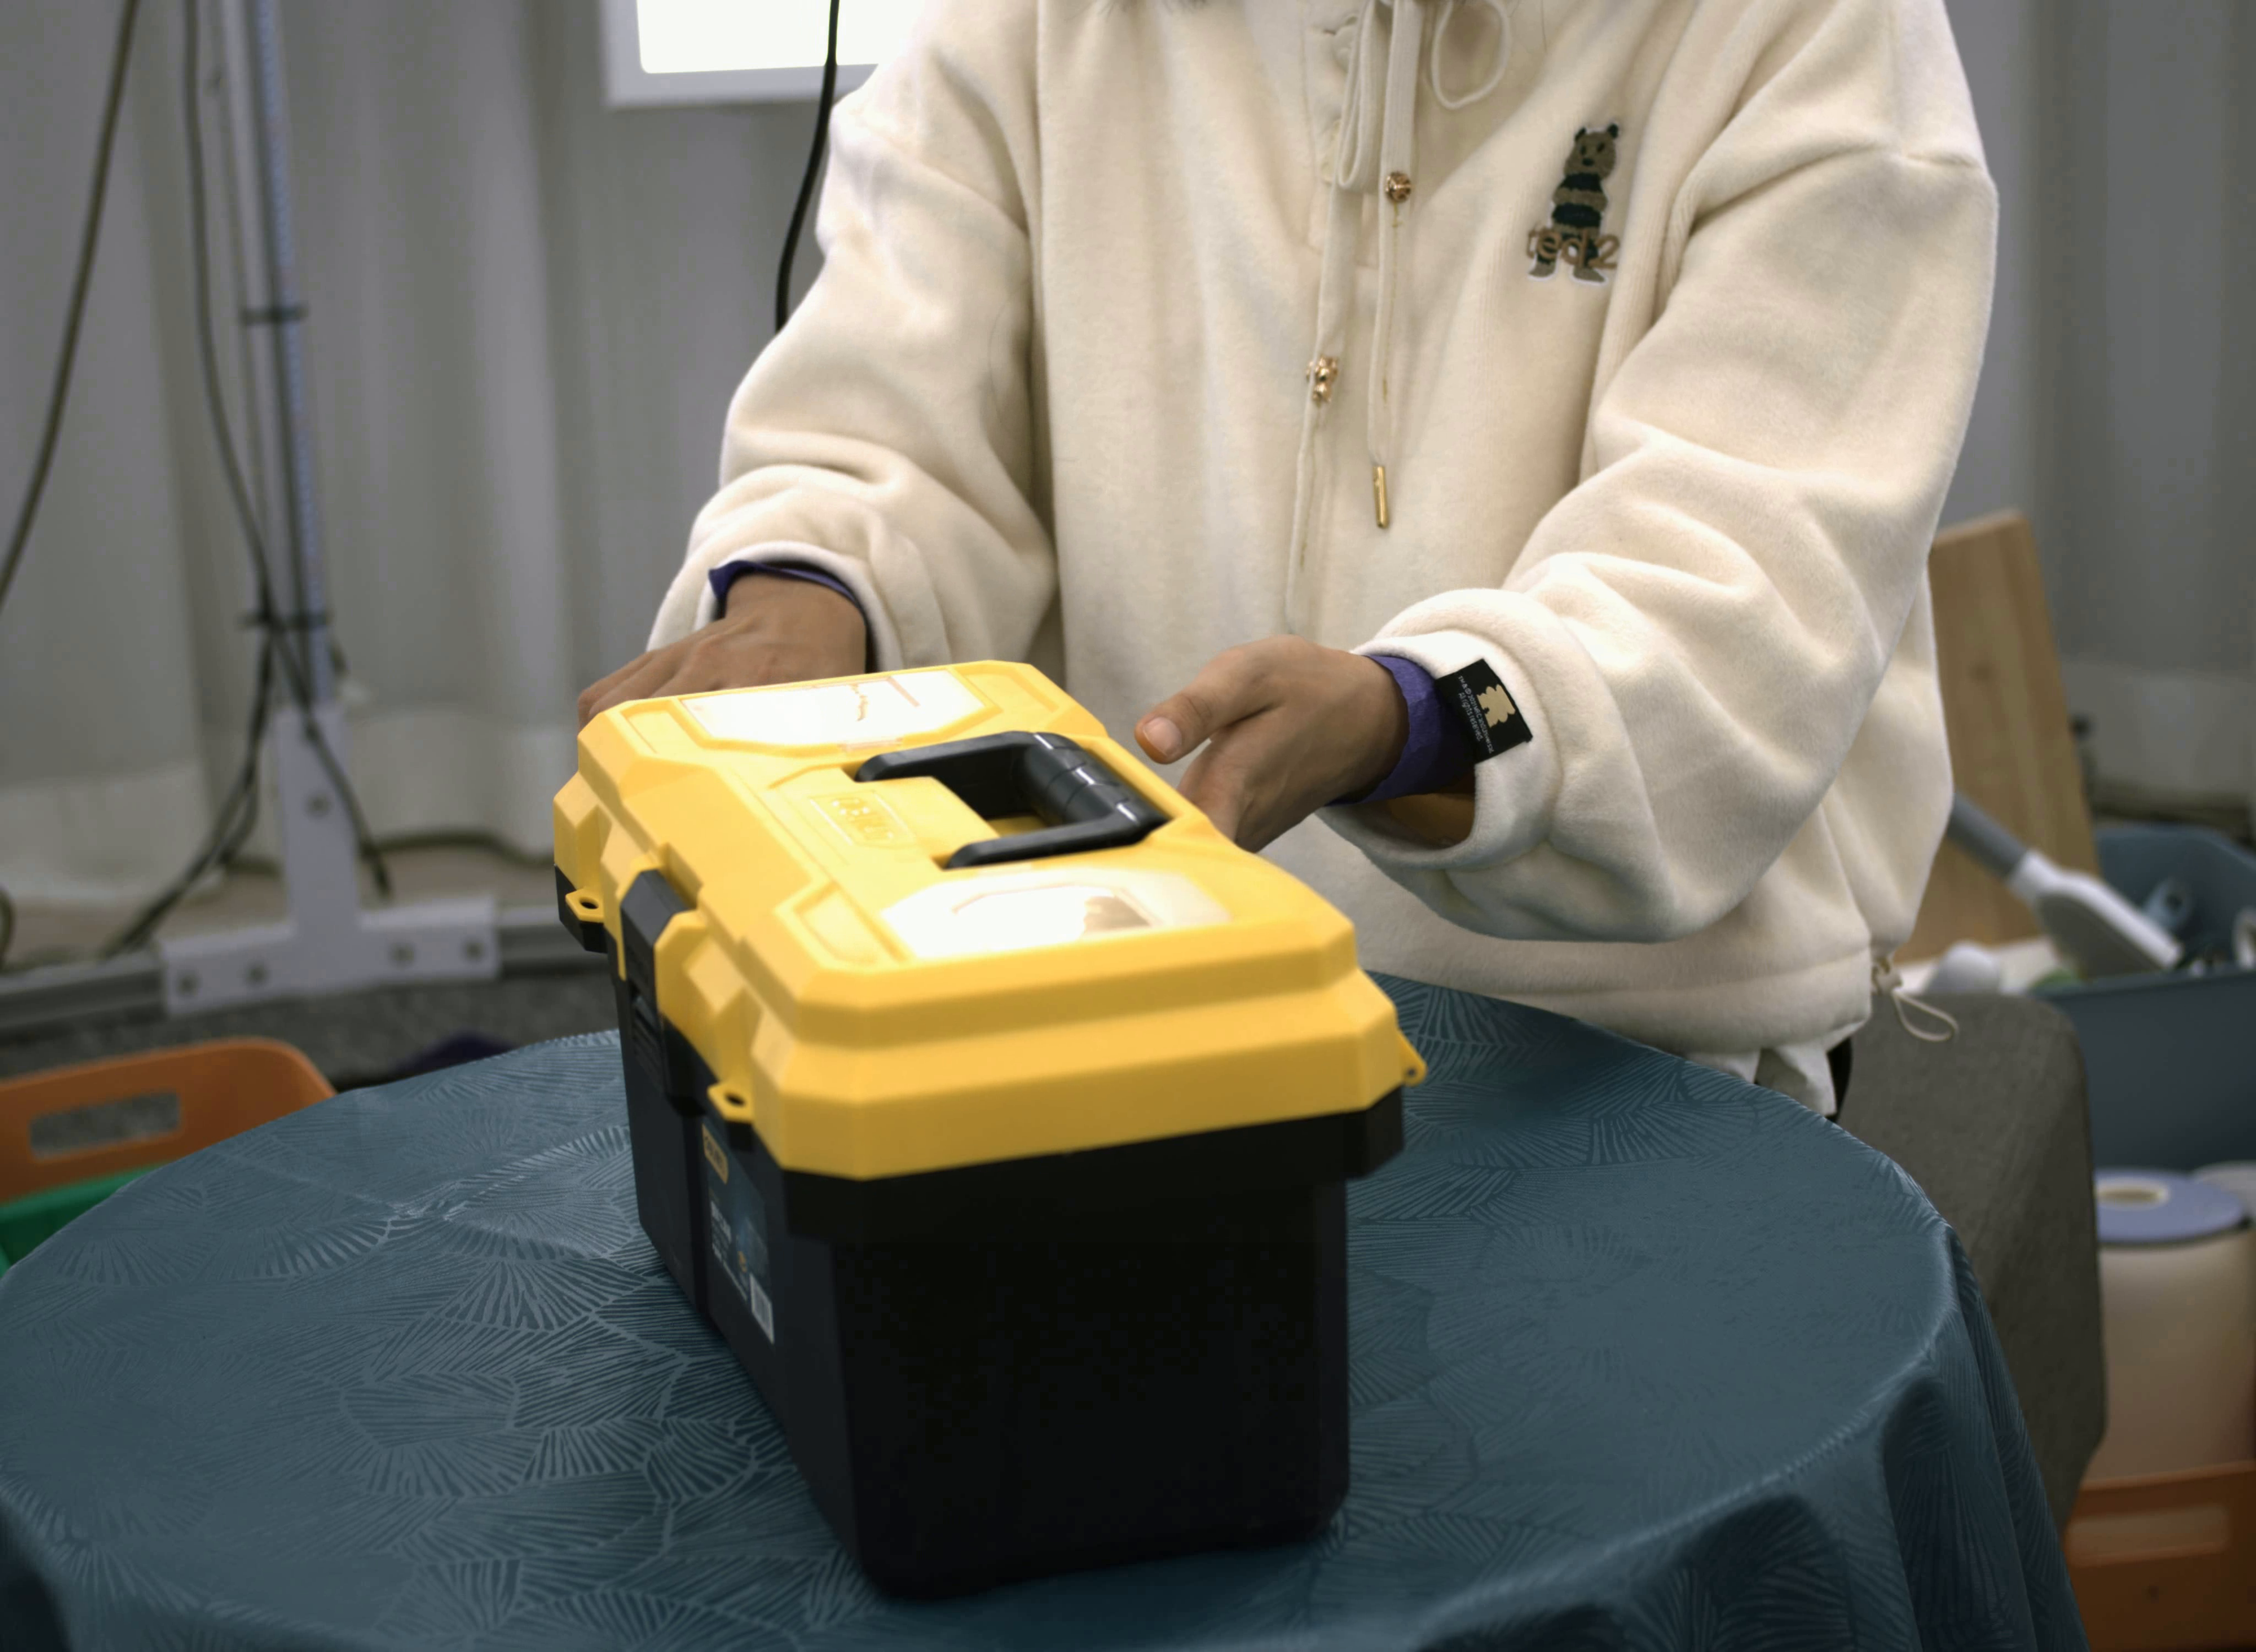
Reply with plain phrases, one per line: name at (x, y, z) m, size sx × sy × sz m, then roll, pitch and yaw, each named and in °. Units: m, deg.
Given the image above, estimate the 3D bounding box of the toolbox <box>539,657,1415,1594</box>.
toolbox at (-0.049, 0.074, 1.540) m, size 0.180 × 0.172 × 0.354 m, roll -6°, pitch 15°, yaw -14°

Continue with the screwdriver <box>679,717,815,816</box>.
screwdriver at (-0.121, -0.027, 1.775) m, size 0.031 × 0.031 × 0.196 m, roll -6°, pitch -6°, yaw -13°
